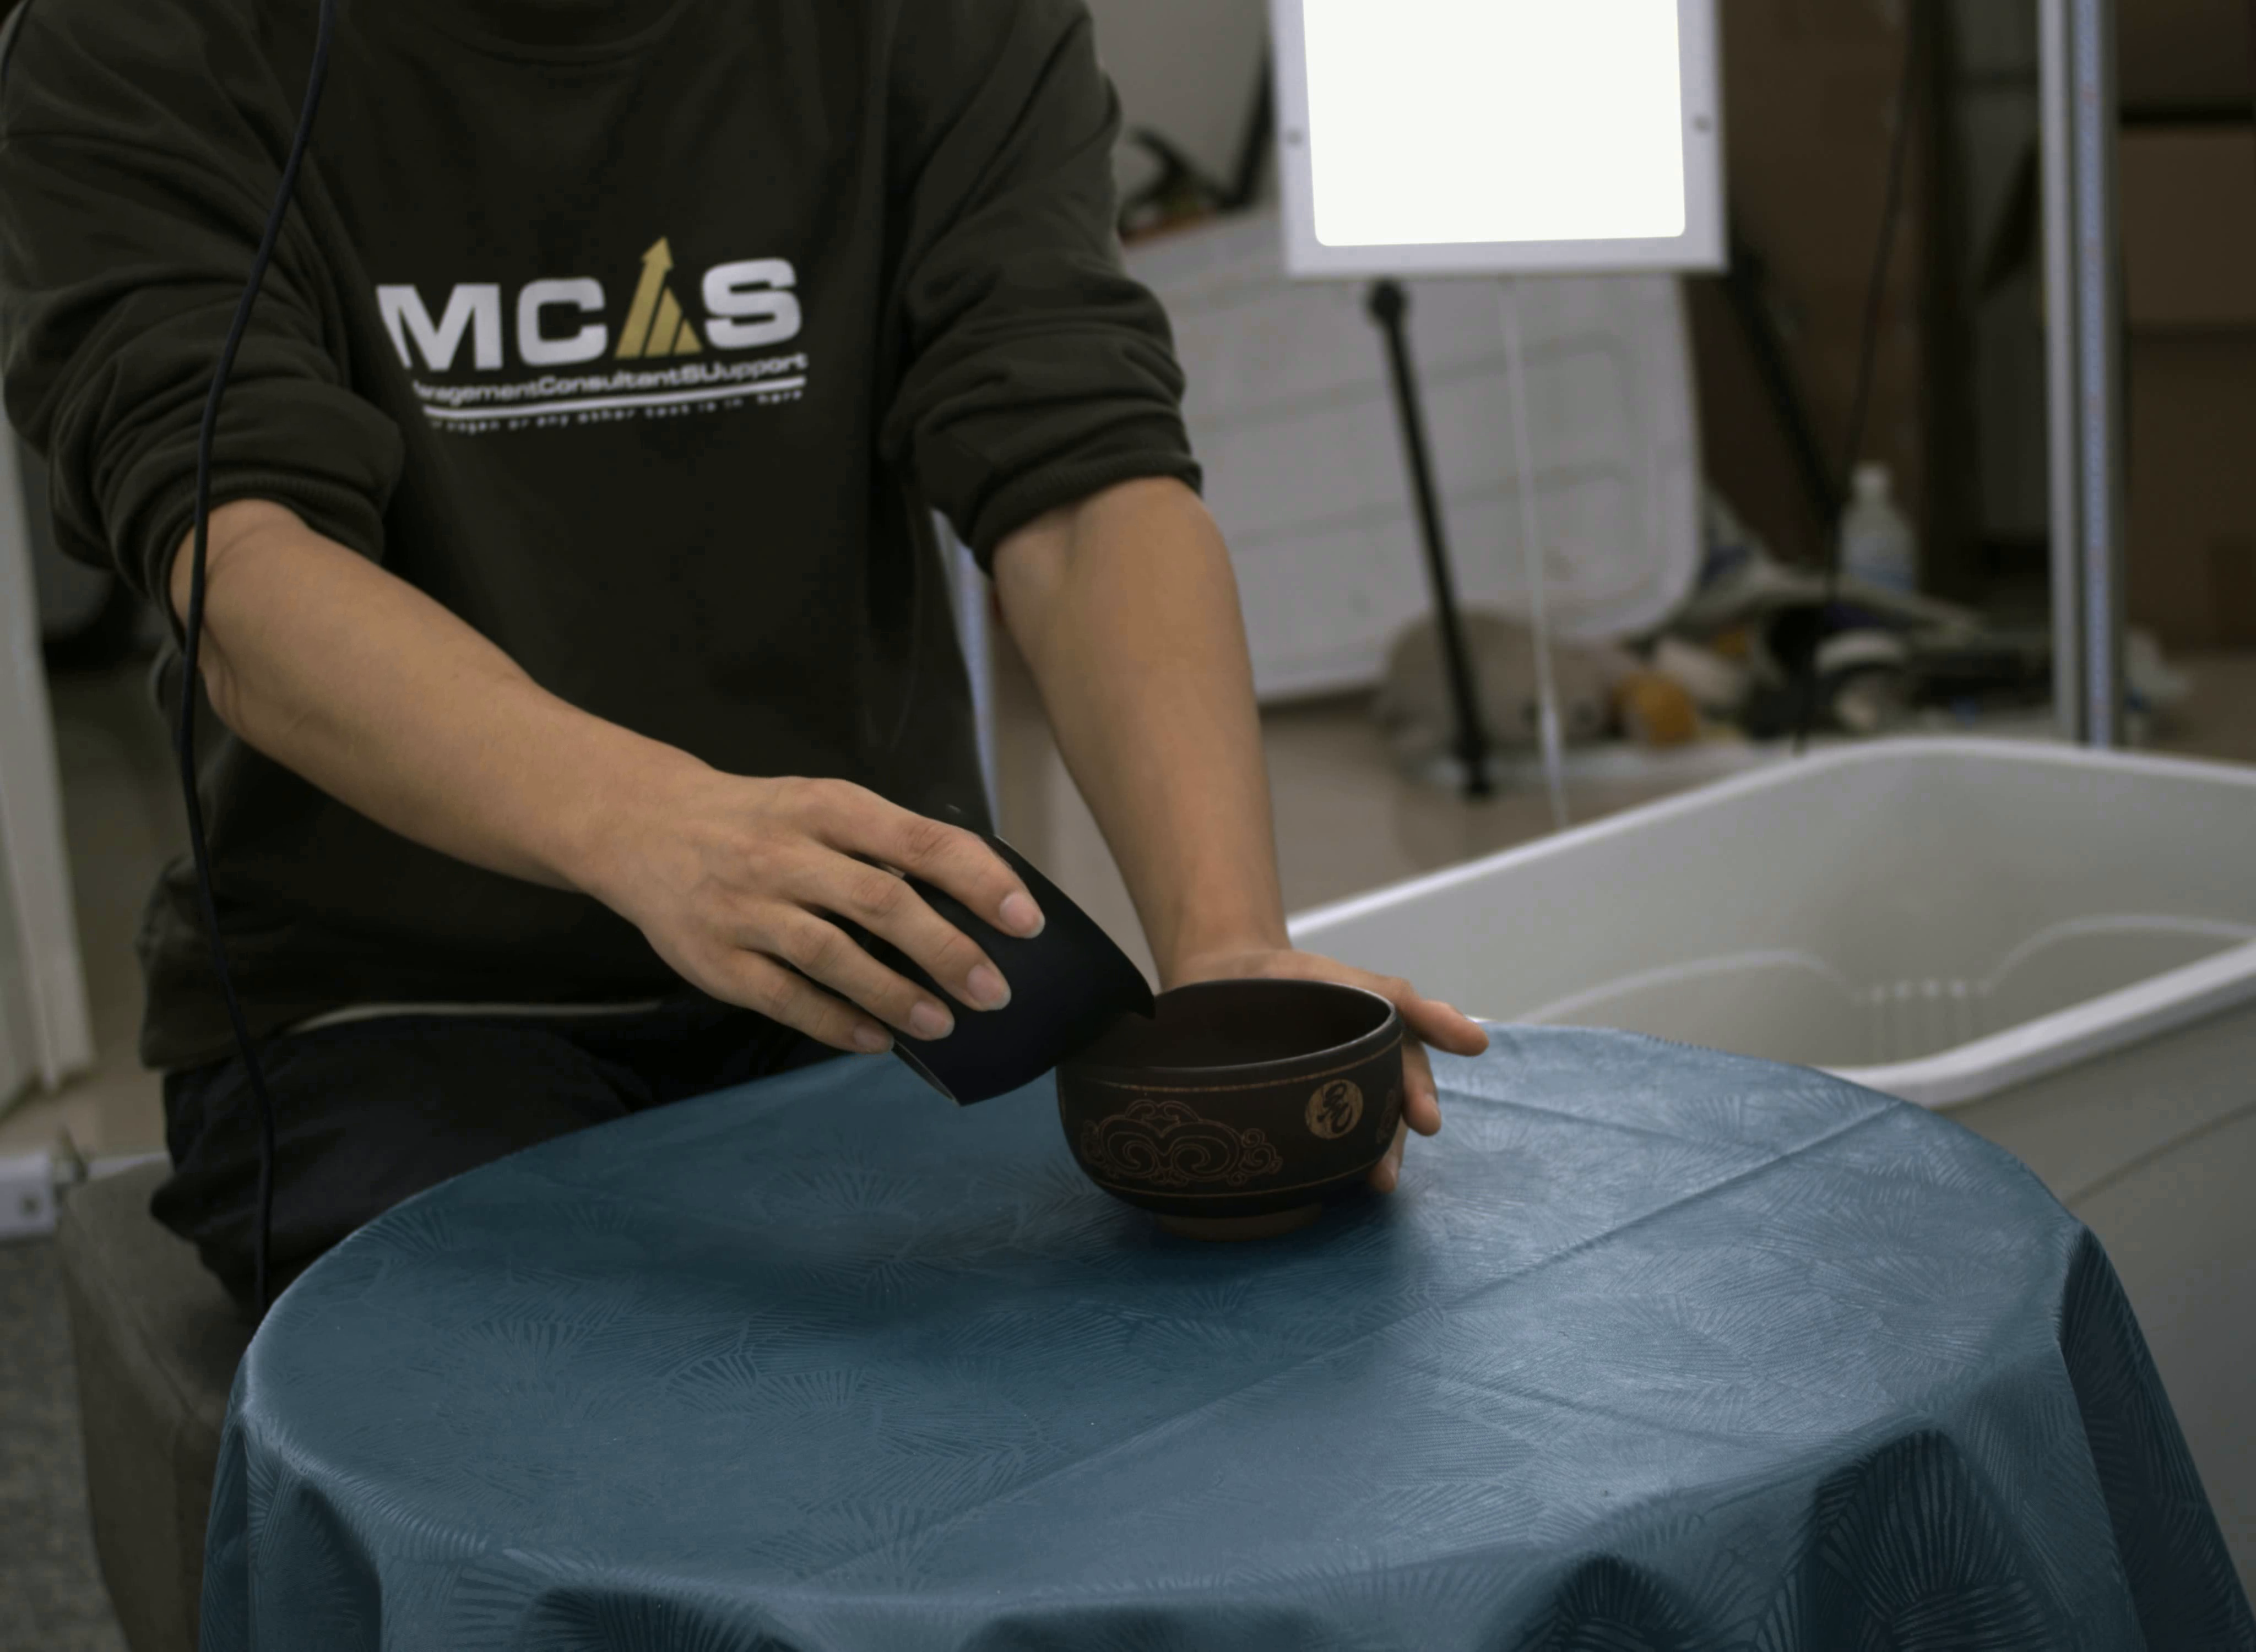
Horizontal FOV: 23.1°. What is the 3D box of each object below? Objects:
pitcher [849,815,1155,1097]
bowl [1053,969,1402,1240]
[{"bbox_3d":[-0.047,0.050,1.824,0.071,0.095,0.084,-49,8,-9],"label":"pitcher"},{"bbox_3d":[0.035,0.098,1.857,0.118,0.070,0.118,-6,16,0],"label":"bowl"}]
